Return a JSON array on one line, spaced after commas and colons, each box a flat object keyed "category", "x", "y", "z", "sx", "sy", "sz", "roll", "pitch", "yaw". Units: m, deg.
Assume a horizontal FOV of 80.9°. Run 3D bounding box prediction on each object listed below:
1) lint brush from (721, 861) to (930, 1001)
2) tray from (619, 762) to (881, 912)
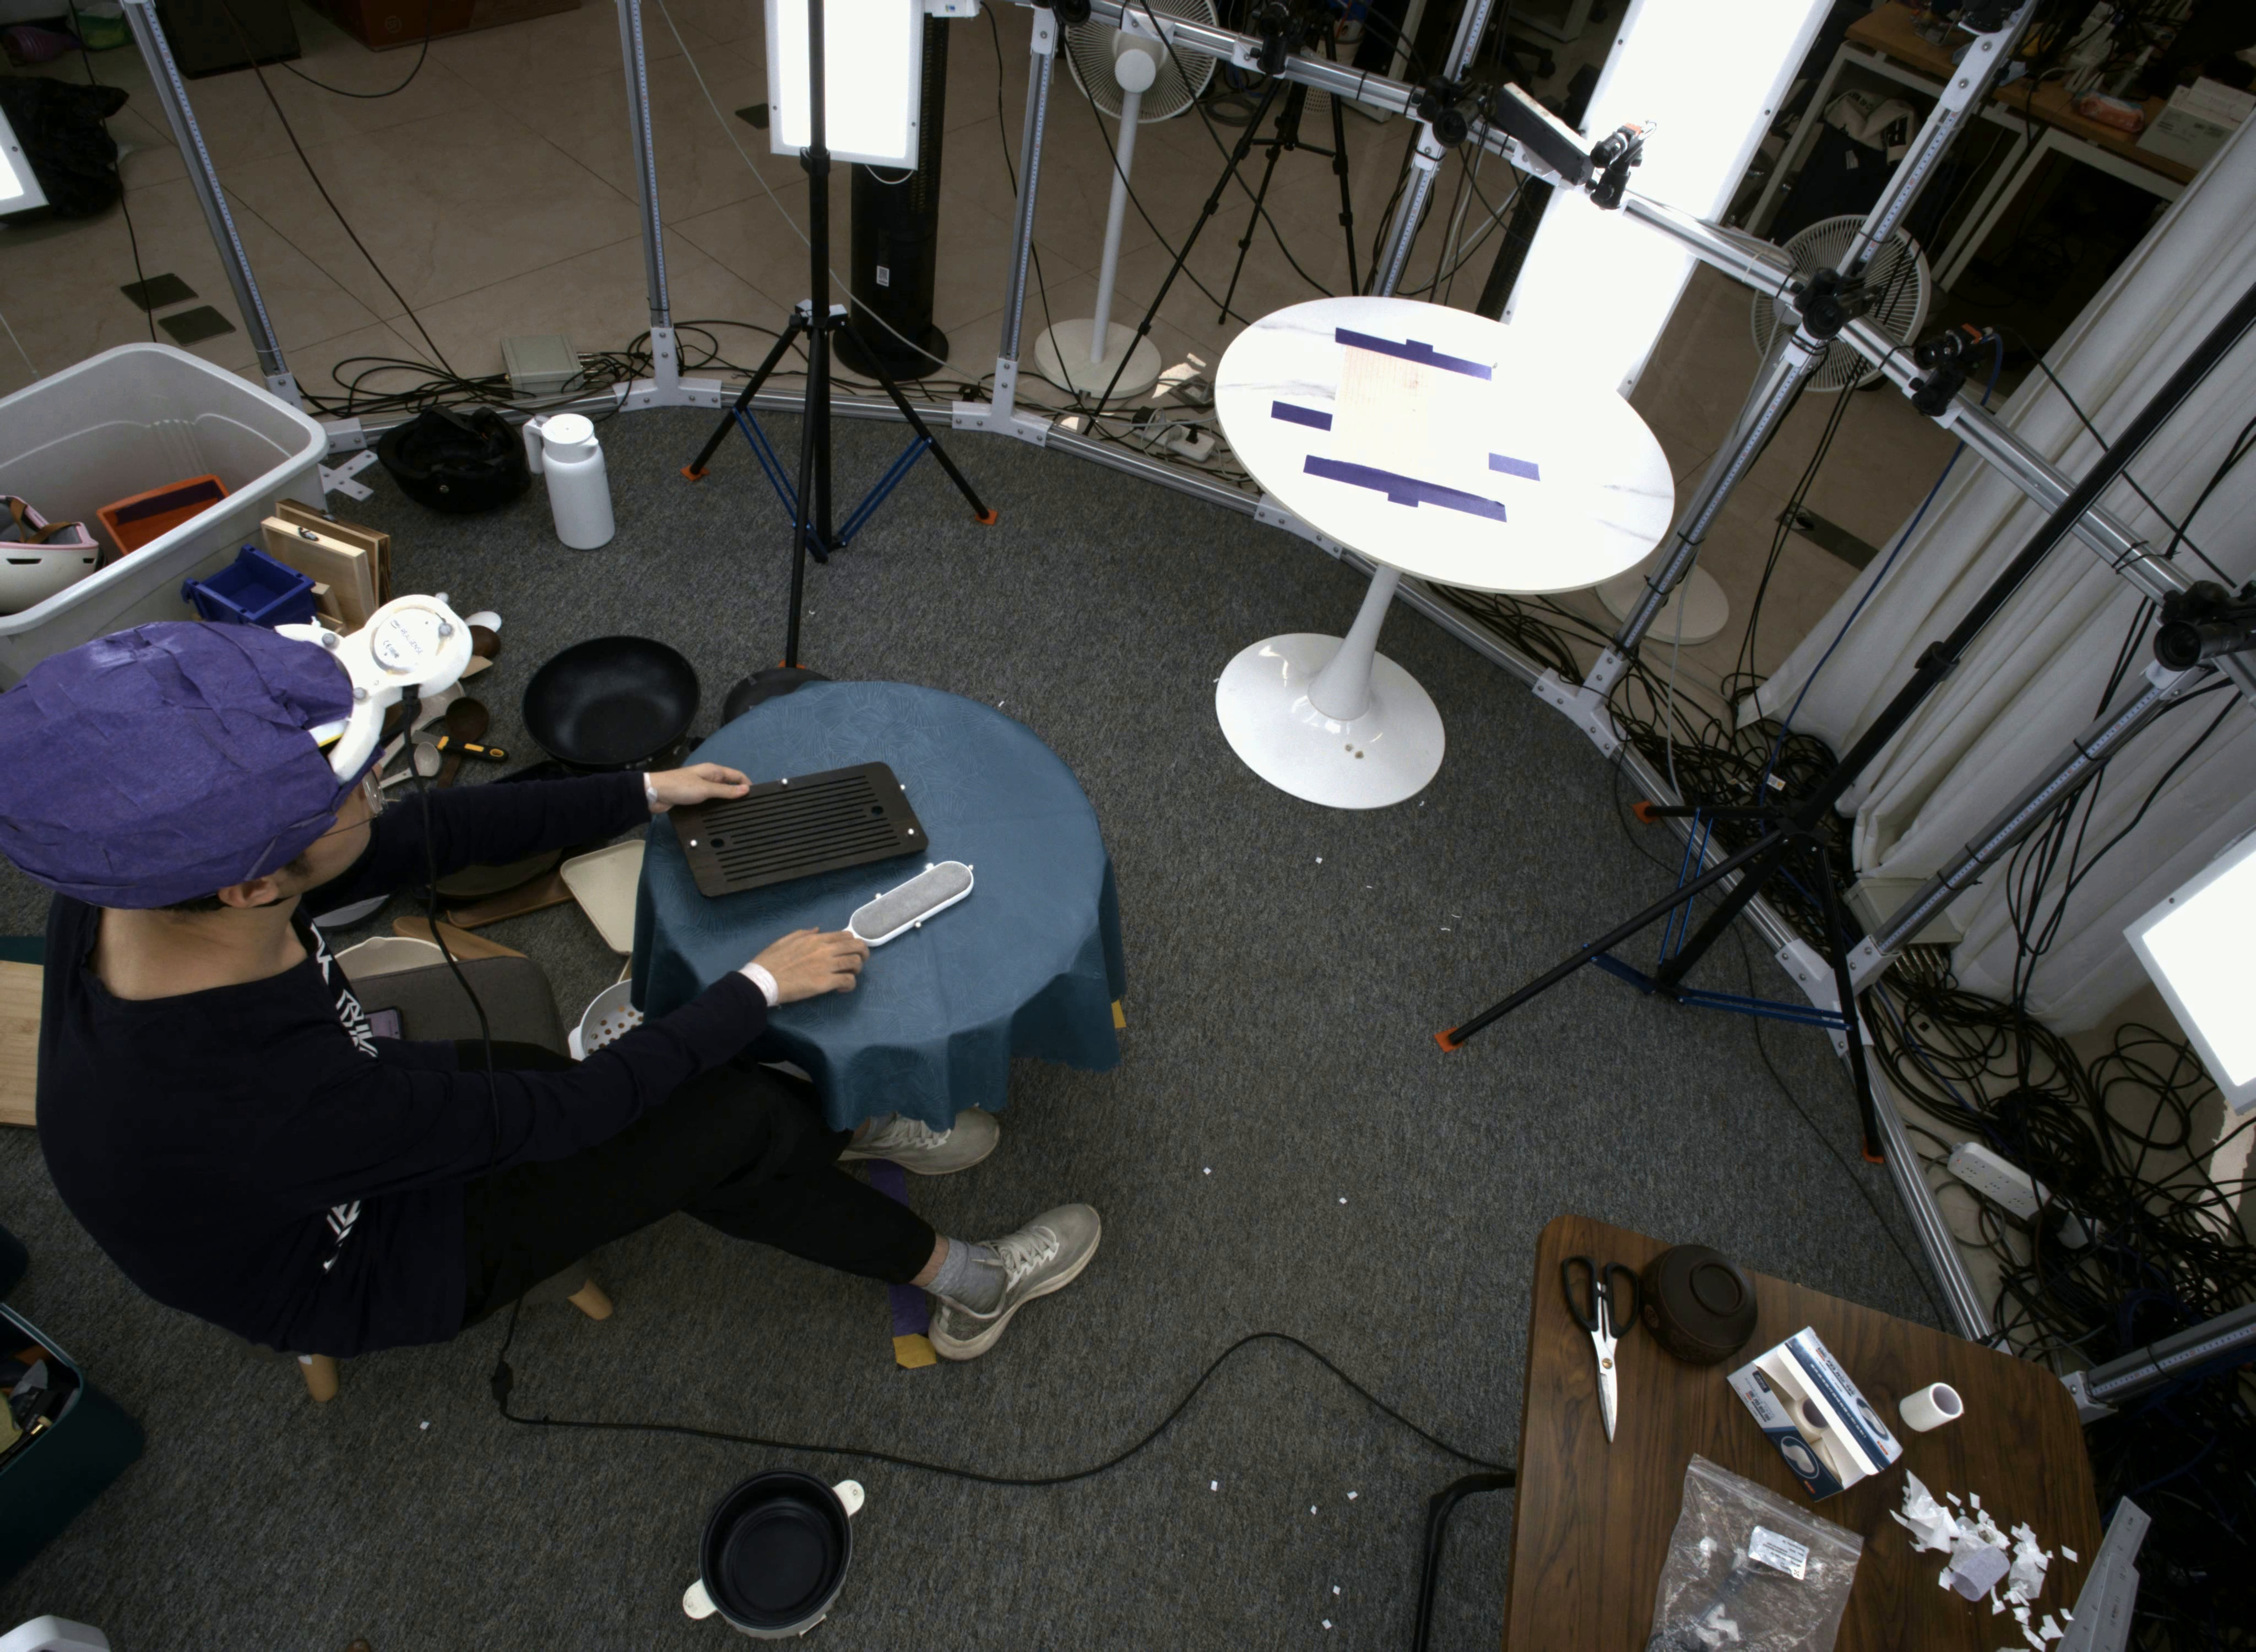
[{"category": "lint brush", "x": -0.378, "y": 0.128, "z": 1.634, "sx": 0.310, "sy": 0.021, "sz": 0.059, "roll": -33, "pitch": 73, "yaw": -32}, {"category": "tray", "x": -0.489, "y": 0.010, "z": 1.676, "sx": 0.308, "sy": 0.019, "sz": 0.165, "roll": -17, "pitch": 57, "yaw": -32}]
